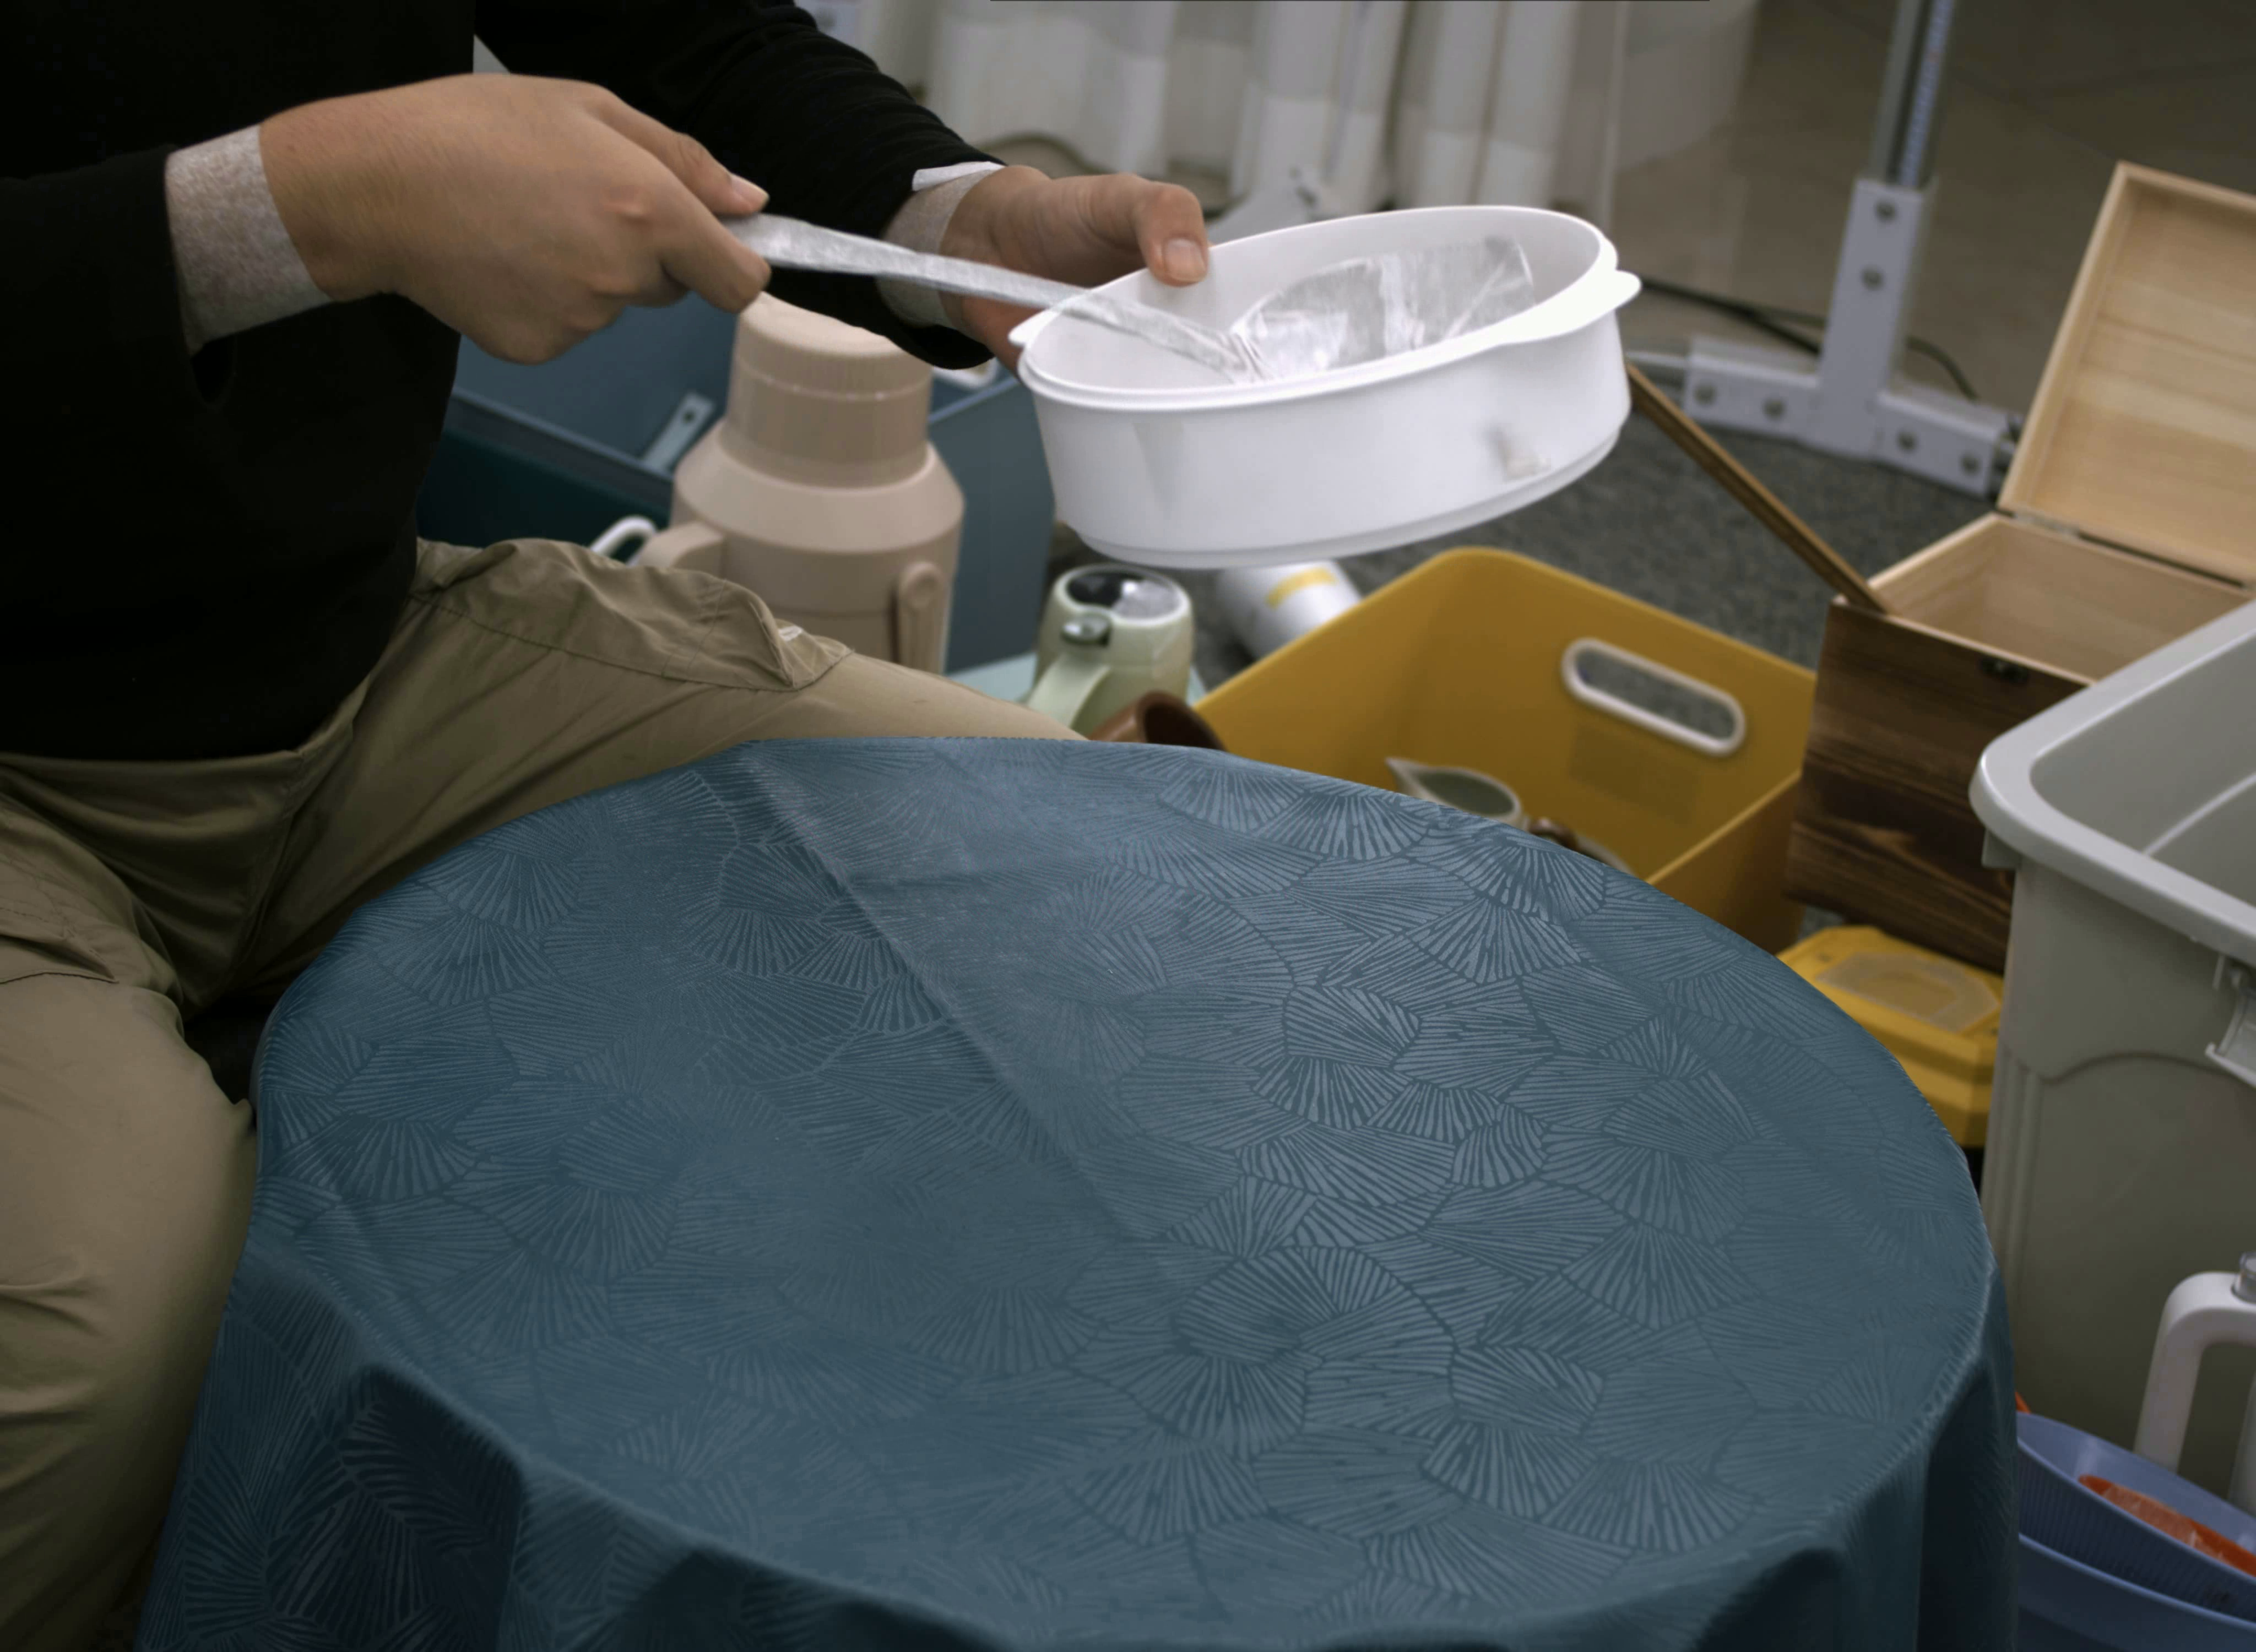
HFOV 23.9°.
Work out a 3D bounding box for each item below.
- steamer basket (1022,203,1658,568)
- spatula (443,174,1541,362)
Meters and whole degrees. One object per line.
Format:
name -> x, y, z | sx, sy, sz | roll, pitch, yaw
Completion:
steamer basket -> 0.072, -0.145, 1.755 | 0.231, 0.069, 0.201 | 3, 24, 38
spatula -> -0.043, -0.180, 1.734 | 0.363, 0.044, 0.099 | 11, 47, -6
